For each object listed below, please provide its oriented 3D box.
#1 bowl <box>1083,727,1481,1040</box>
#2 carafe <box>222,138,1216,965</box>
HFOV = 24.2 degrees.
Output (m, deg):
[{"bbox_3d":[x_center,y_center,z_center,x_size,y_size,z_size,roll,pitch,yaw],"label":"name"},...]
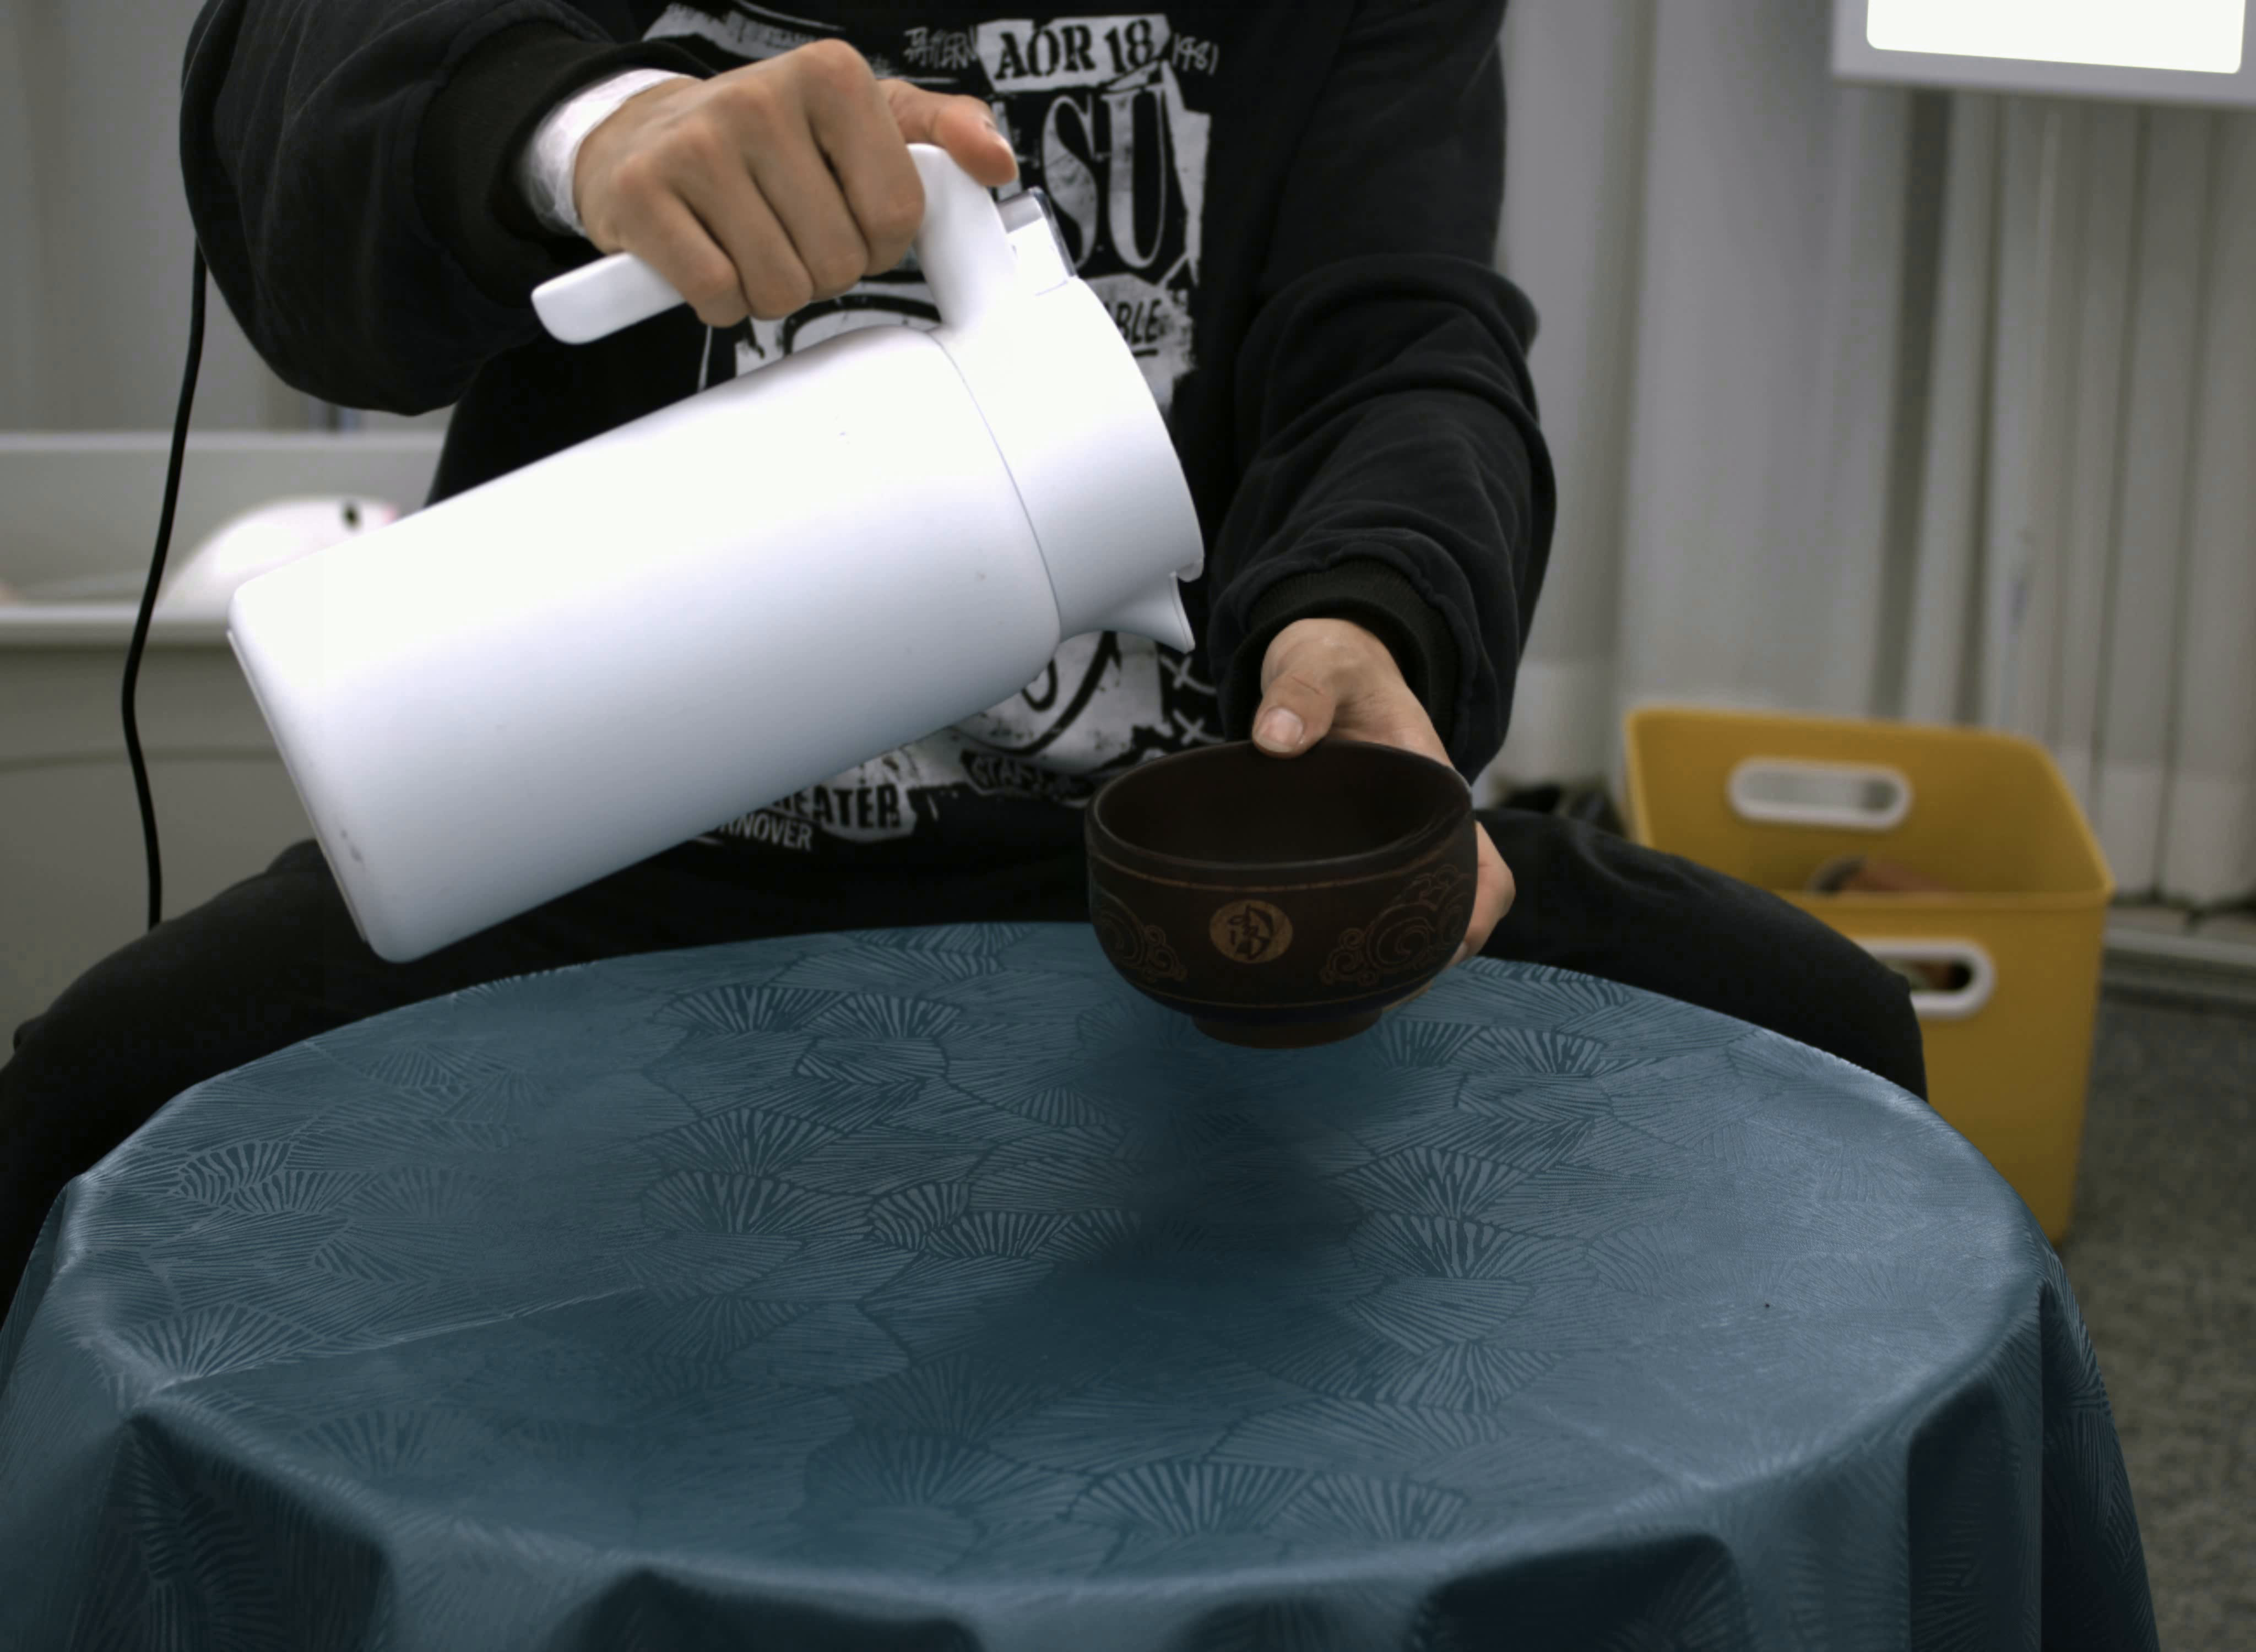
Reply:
[{"bbox_3d":[0.046,0.021,1.559,0.117,0.070,0.117,-3,19,2],"label":"bowl"},{"bbox_3d":[-0.123,-0.080,1.503,0.268,0.174,0.123,-24,13,-7],"label":"carafe"}]
